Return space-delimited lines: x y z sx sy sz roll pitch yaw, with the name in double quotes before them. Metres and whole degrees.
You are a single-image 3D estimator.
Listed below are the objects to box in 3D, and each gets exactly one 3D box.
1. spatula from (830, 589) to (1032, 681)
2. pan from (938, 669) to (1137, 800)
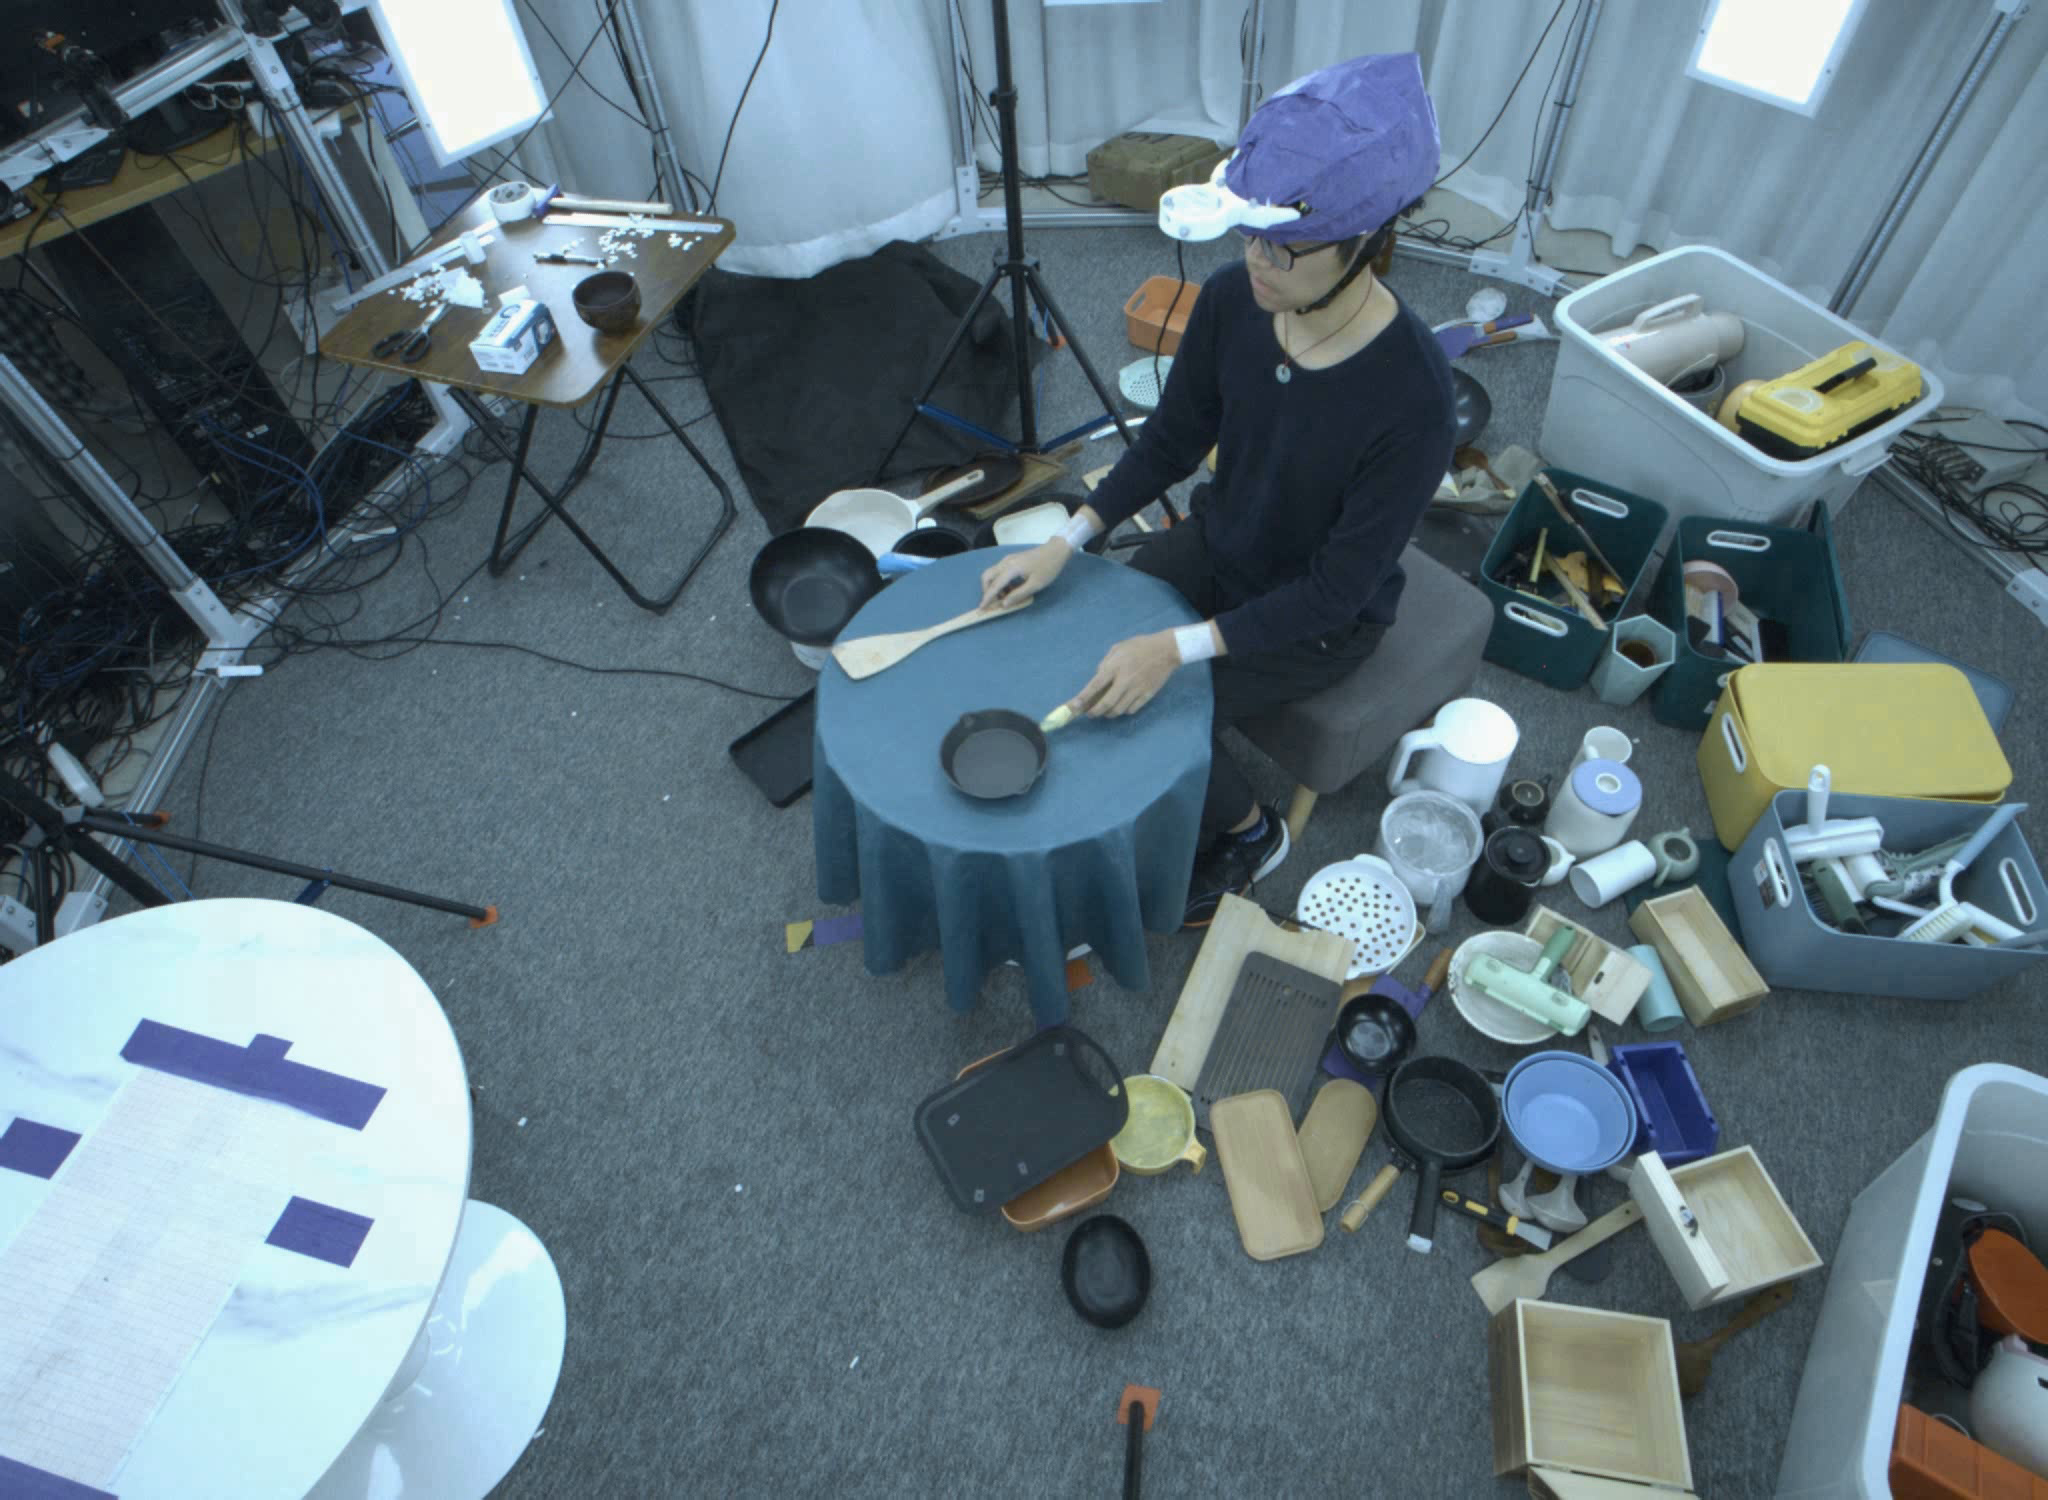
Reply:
"spatula" -0.139 -0.188 1.912 0.329 0.017 0.078 -22 59 -10
"pan" 0.029 -0.032 1.777 0.326 0.050 0.166 -28 58 -15
